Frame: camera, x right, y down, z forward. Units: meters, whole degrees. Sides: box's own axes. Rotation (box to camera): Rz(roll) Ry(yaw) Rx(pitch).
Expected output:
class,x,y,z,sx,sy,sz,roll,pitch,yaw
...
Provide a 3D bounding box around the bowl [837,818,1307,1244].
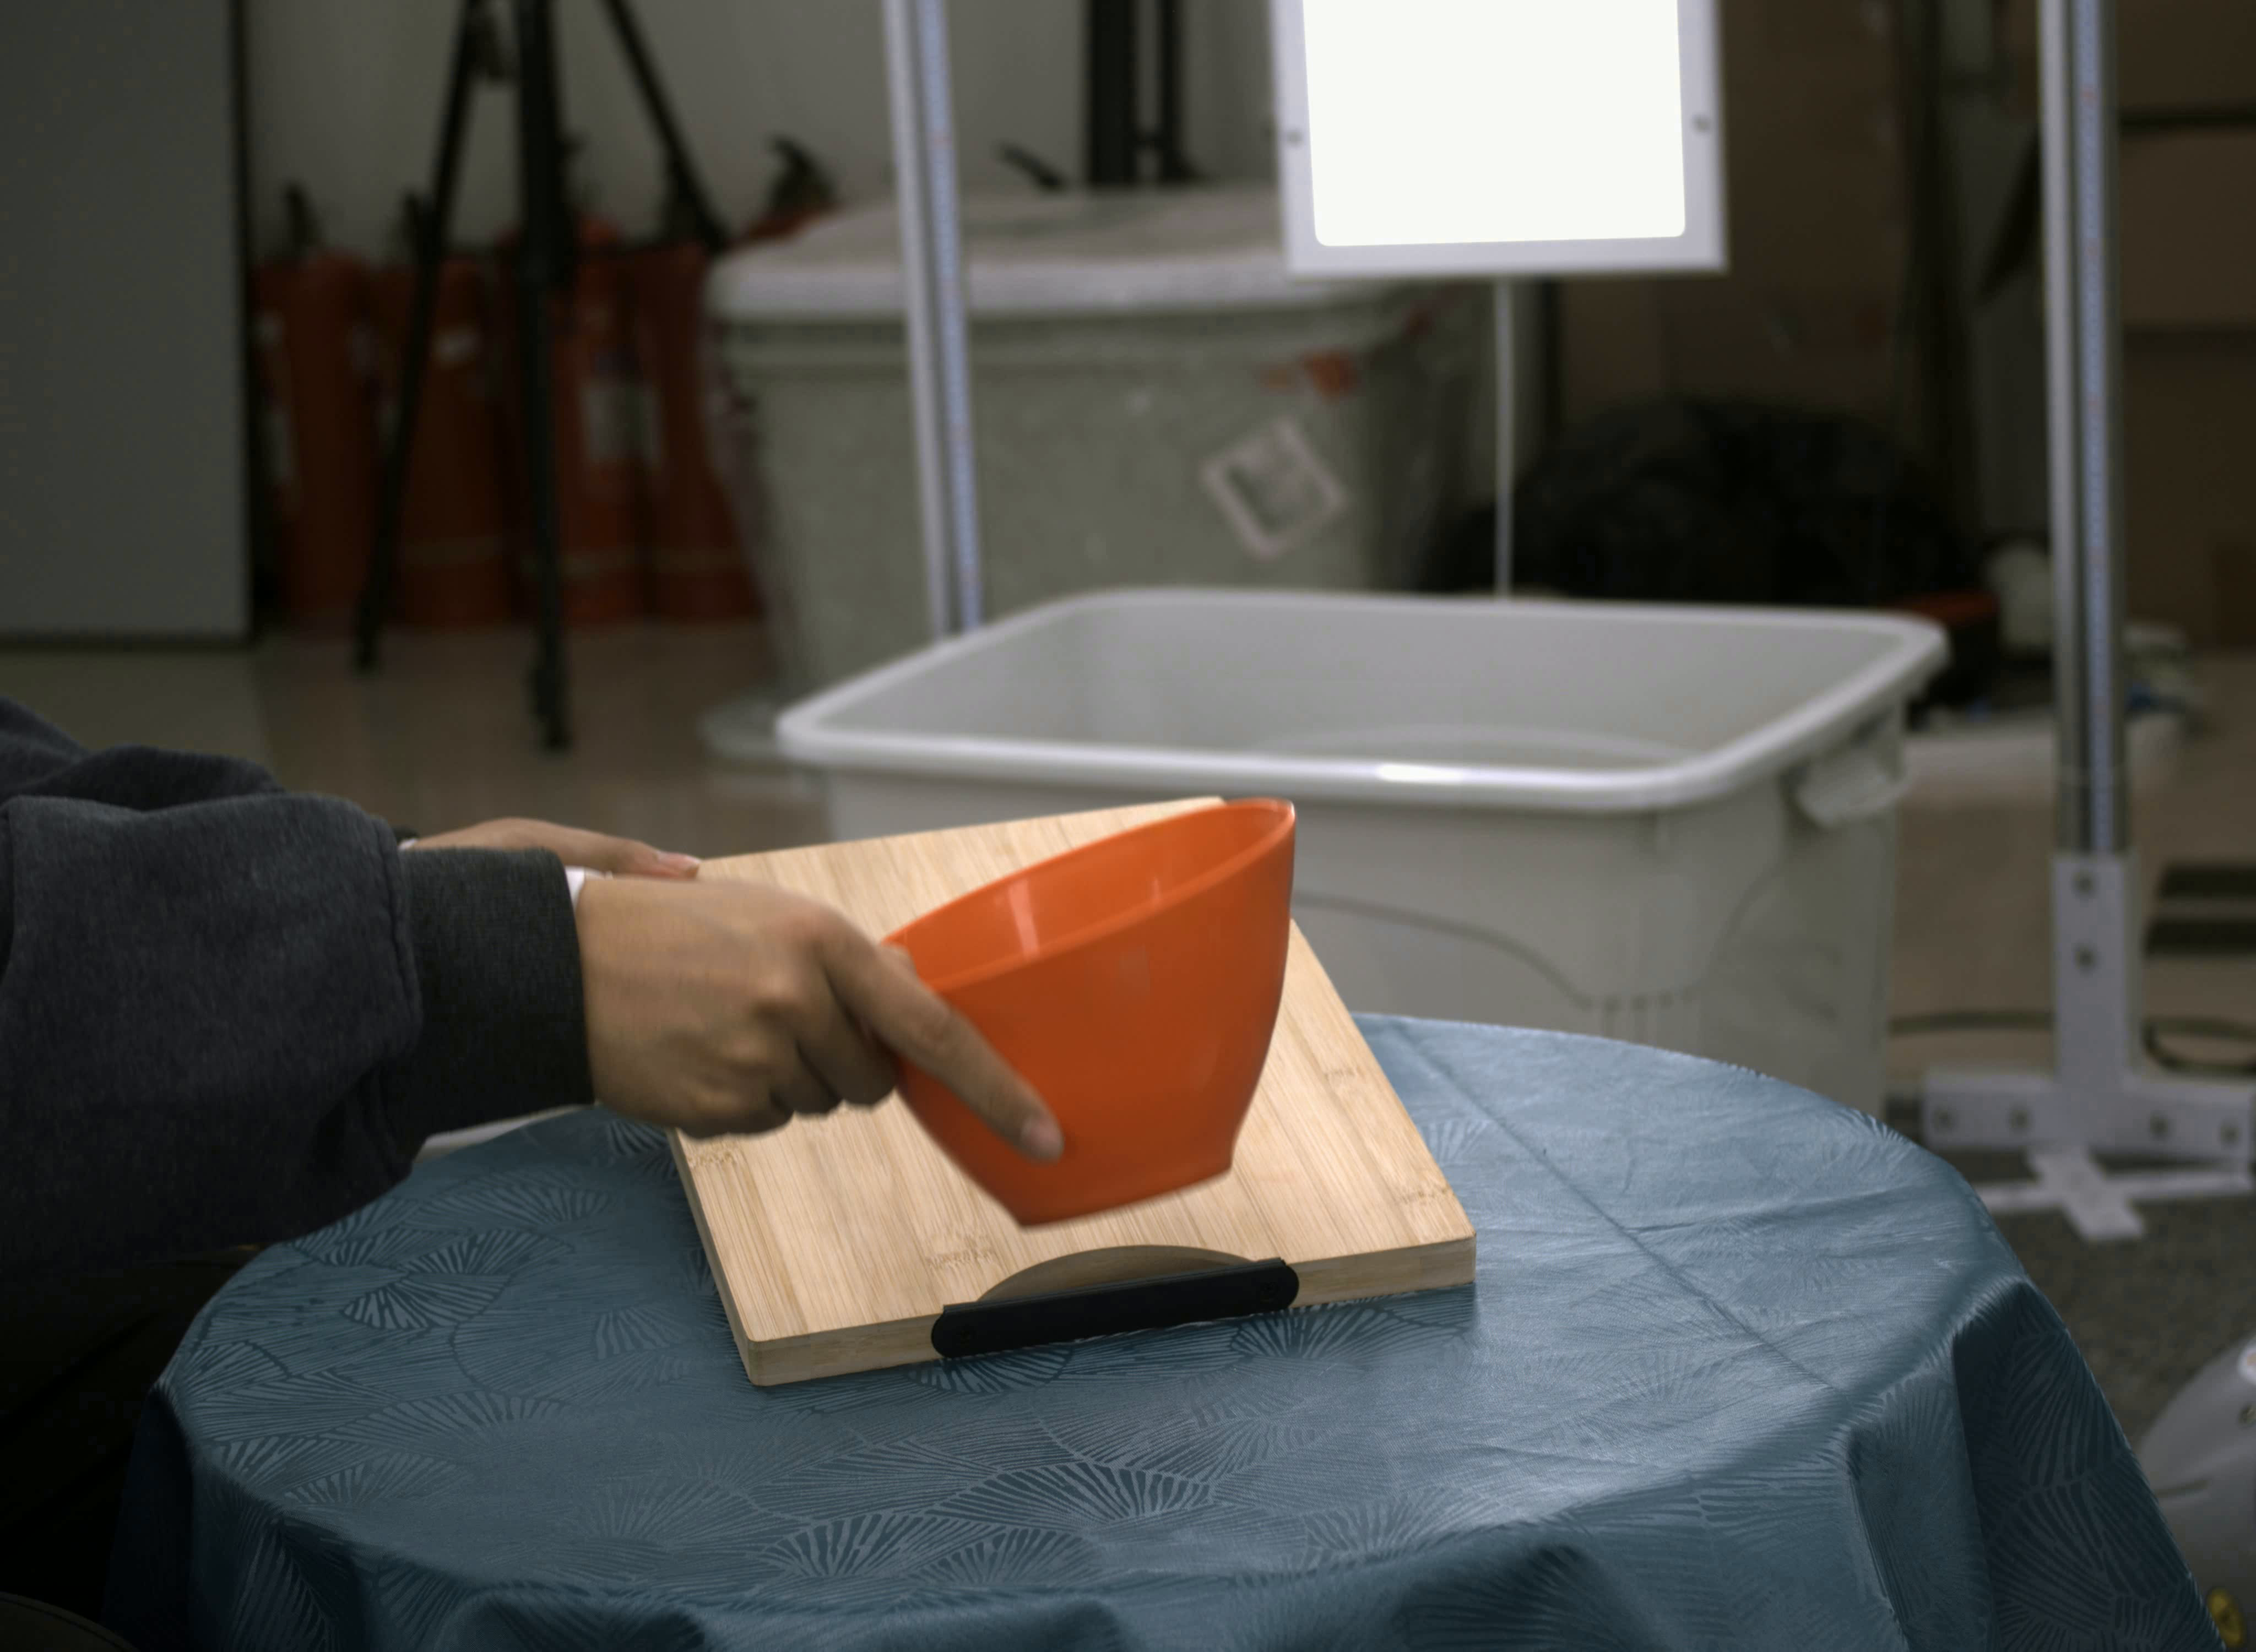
class,x,y,z,sx,sy,sz,roll,pitch,yaw
bowl,-0.007,0.064,1.644,0.147,0.105,0.148,-14,3,-1

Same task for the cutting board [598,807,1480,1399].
class,x,y,z,sx,sy,sz,roll,pitch,yaw
cutting board,-0.040,0.086,1.893,0.248,0.024,0.351,-9,27,-10
